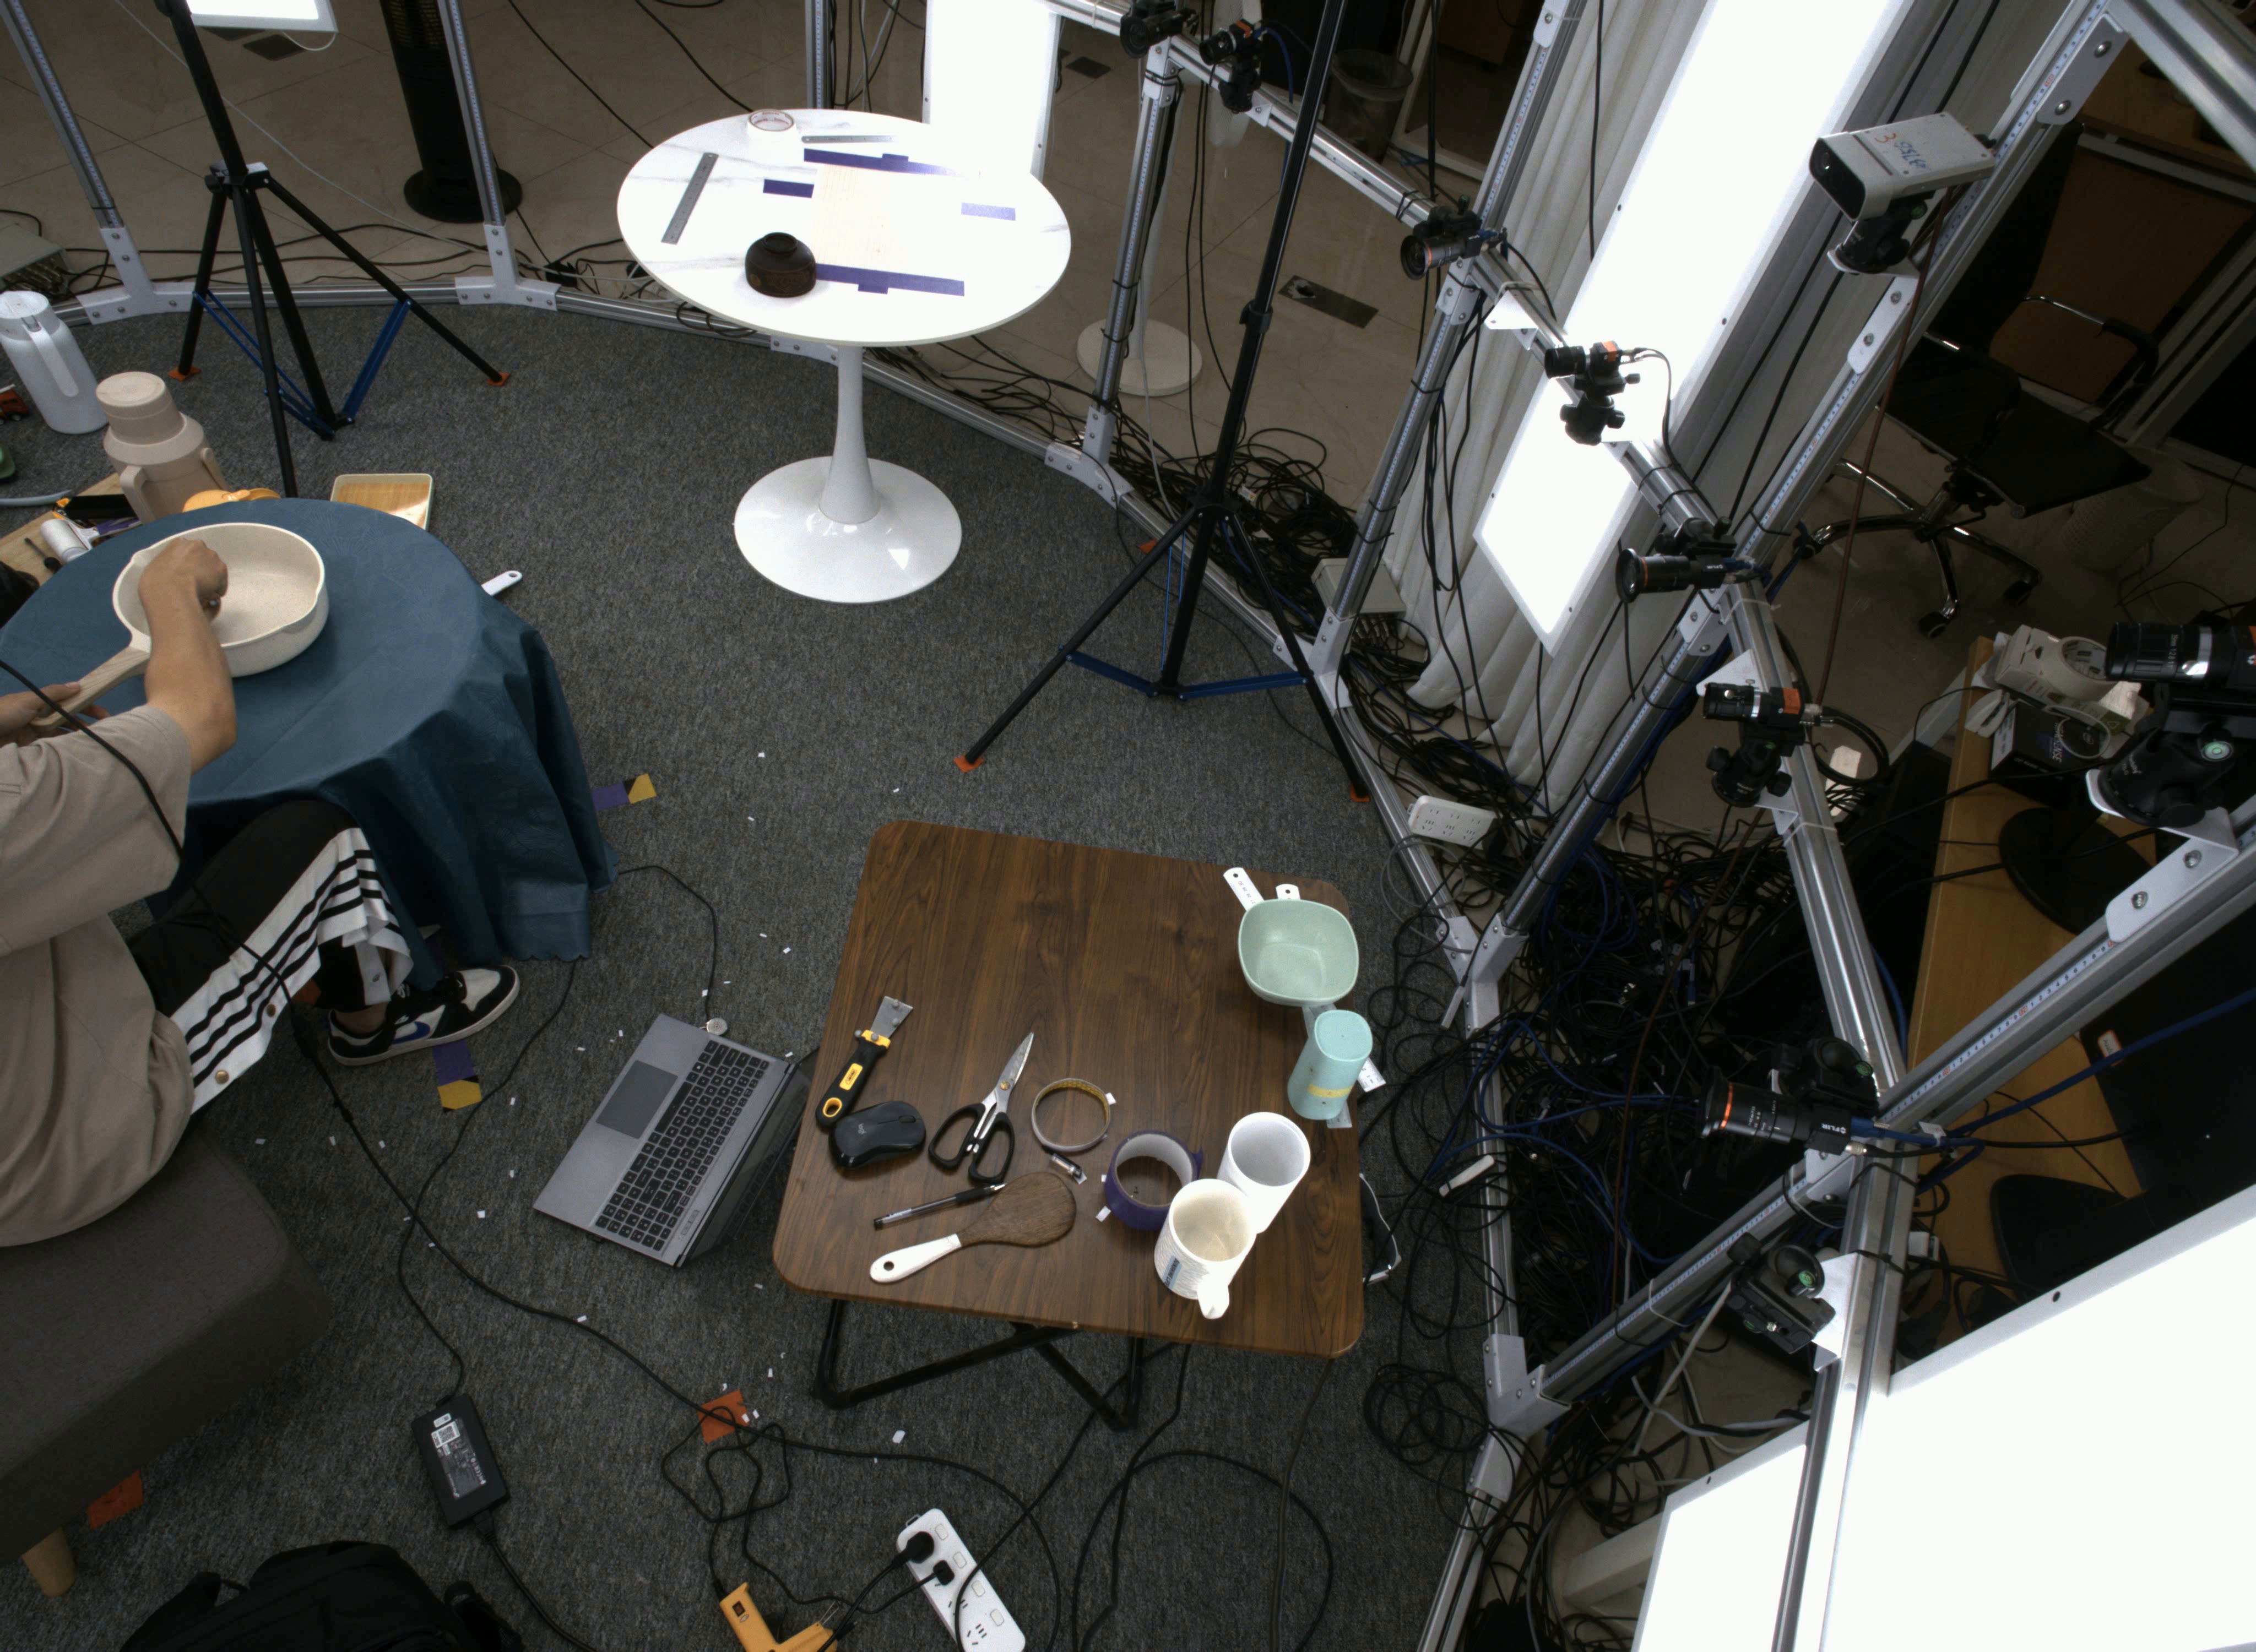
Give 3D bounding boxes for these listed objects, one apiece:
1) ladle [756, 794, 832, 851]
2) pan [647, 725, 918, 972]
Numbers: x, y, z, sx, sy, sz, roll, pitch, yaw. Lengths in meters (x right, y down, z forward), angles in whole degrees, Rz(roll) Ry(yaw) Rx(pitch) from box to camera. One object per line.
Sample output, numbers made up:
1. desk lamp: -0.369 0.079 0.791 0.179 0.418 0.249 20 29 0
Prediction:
1. ladle: -0.397 -0.016 1.569 0.082 0.269 0.077 -21 93 -22
2. pan: -0.446 0.044 1.633 0.259 0.104 0.433 31 53 9
